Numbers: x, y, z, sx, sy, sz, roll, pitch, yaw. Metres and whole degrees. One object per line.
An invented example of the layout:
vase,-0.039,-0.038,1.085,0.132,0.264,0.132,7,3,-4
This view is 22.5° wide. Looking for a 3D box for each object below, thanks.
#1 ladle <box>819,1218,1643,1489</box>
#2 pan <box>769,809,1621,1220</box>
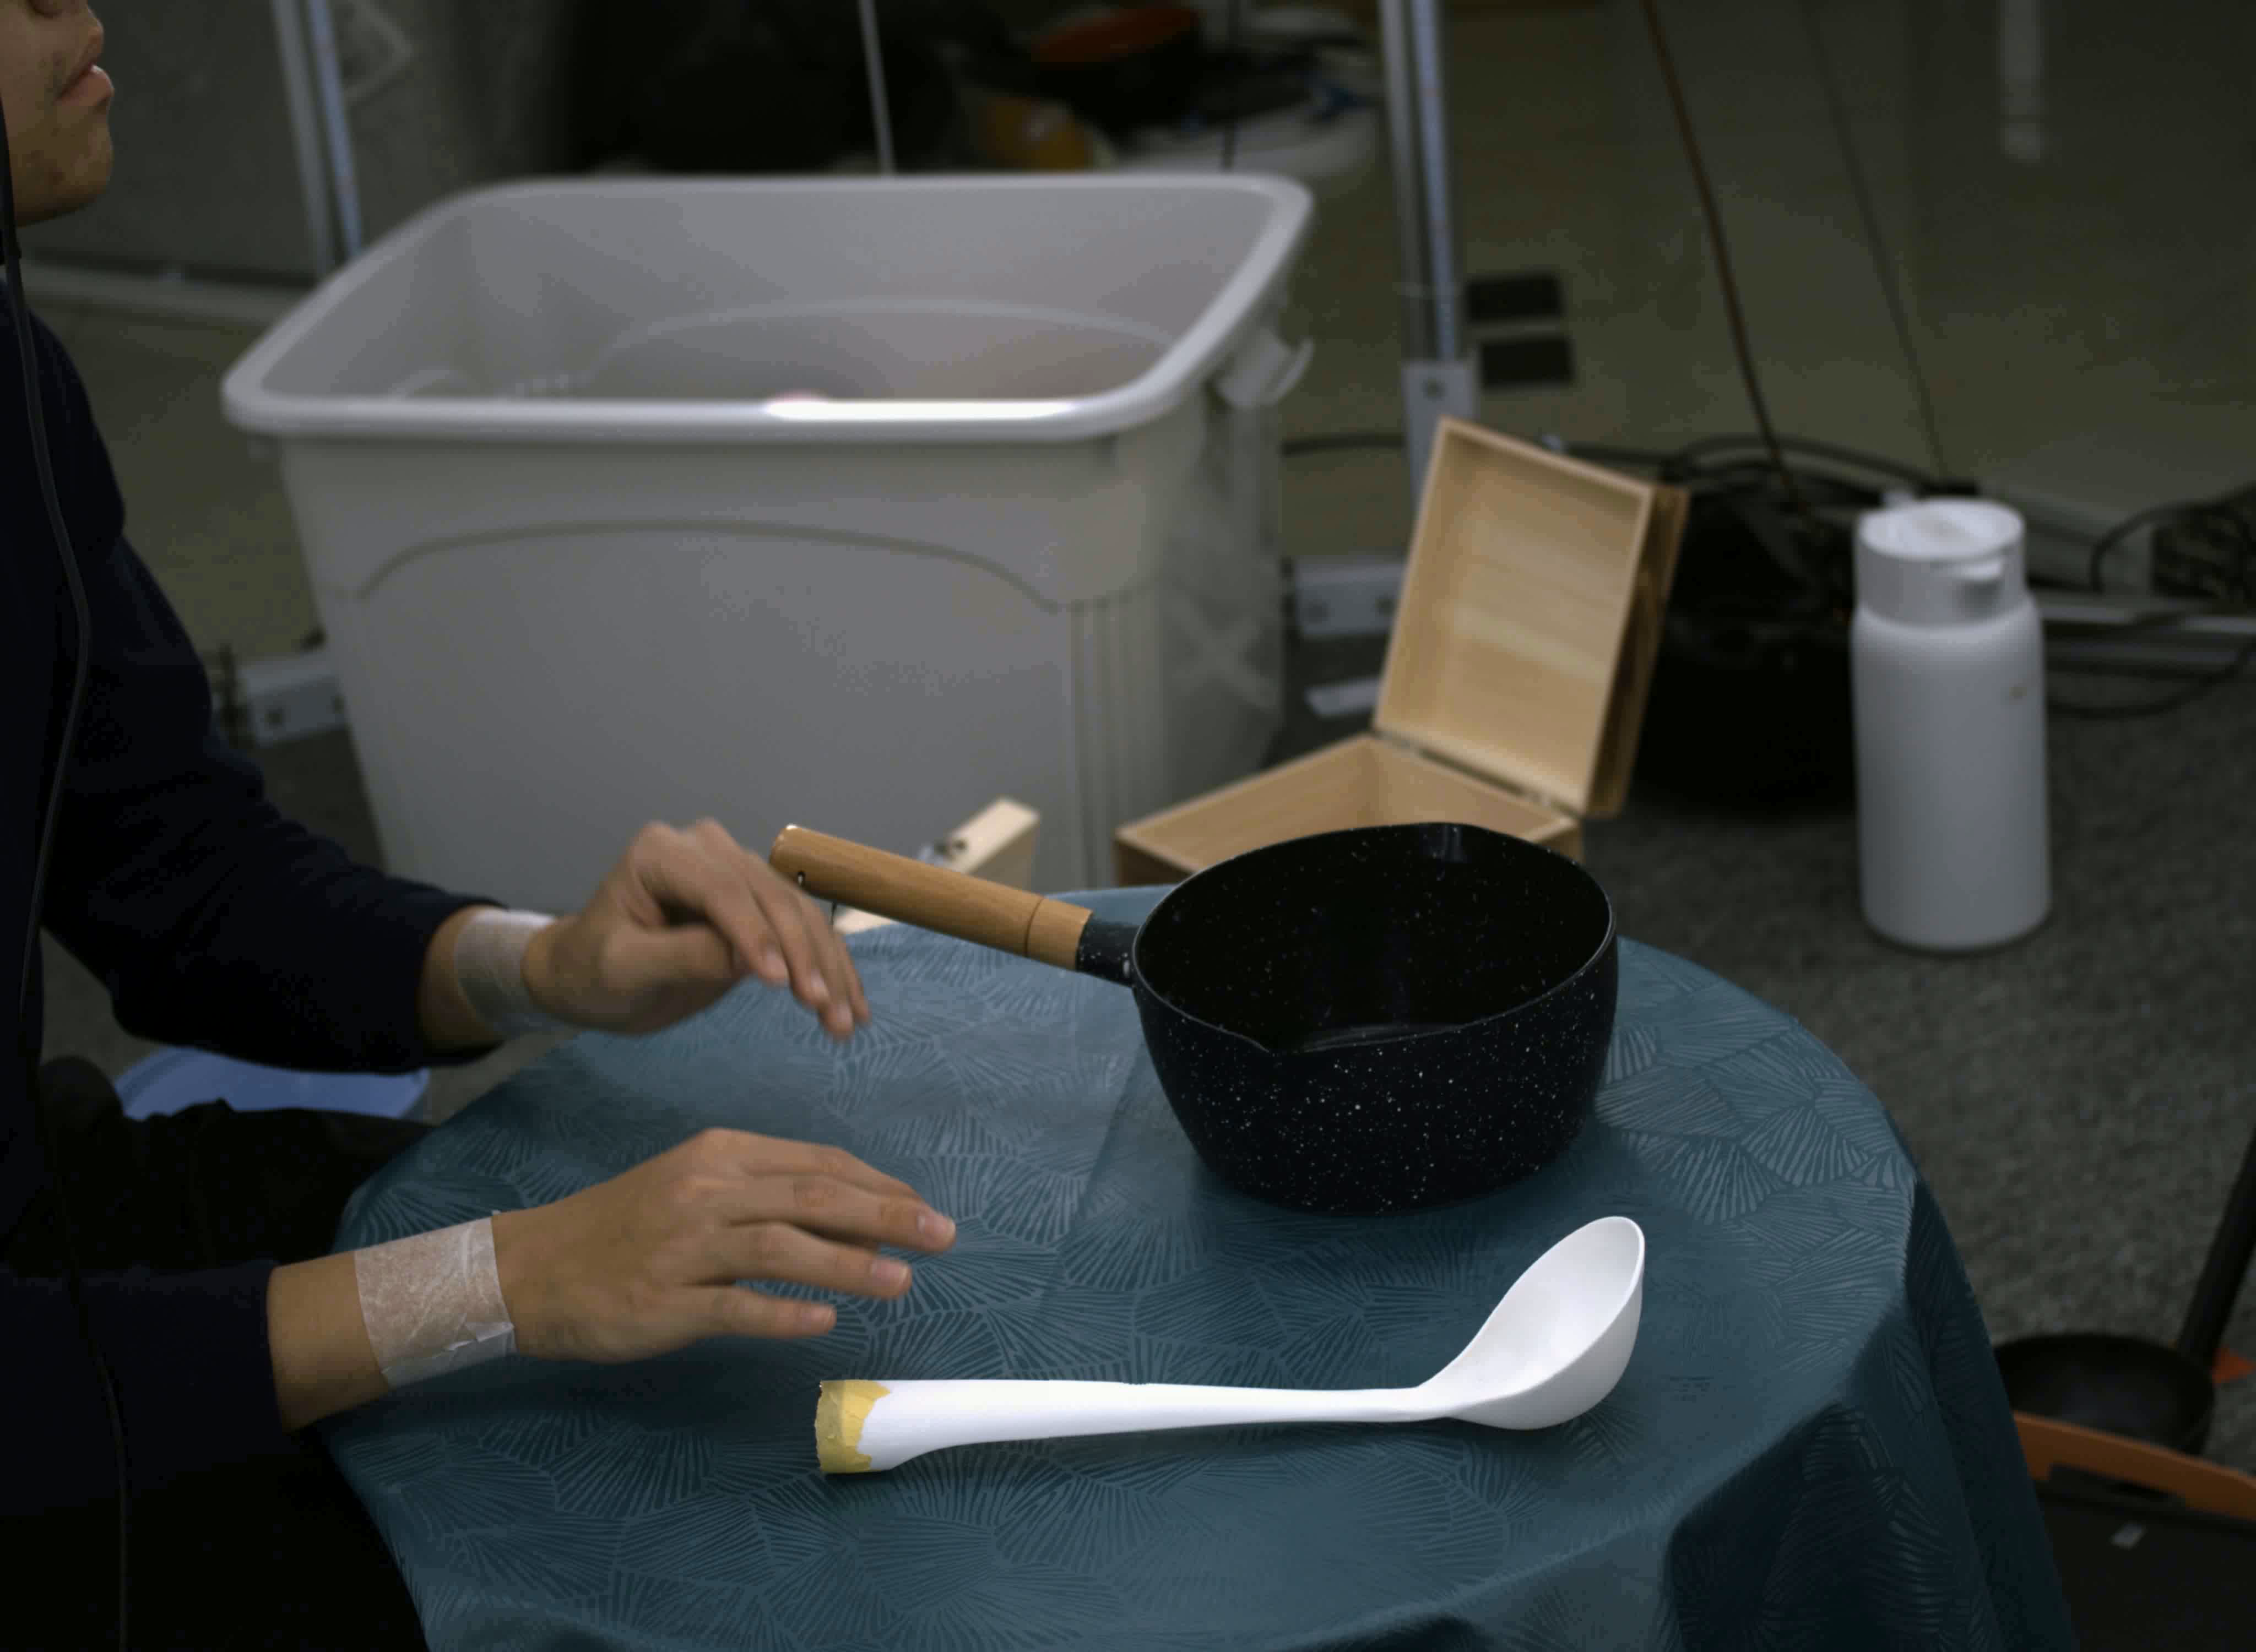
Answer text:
ladle,0.035,0.187,1.959,0.292,0.071,0.088,-5,31,6
pan,0.022,0.061,2.178,0.342,0.110,0.204,5,28,20
